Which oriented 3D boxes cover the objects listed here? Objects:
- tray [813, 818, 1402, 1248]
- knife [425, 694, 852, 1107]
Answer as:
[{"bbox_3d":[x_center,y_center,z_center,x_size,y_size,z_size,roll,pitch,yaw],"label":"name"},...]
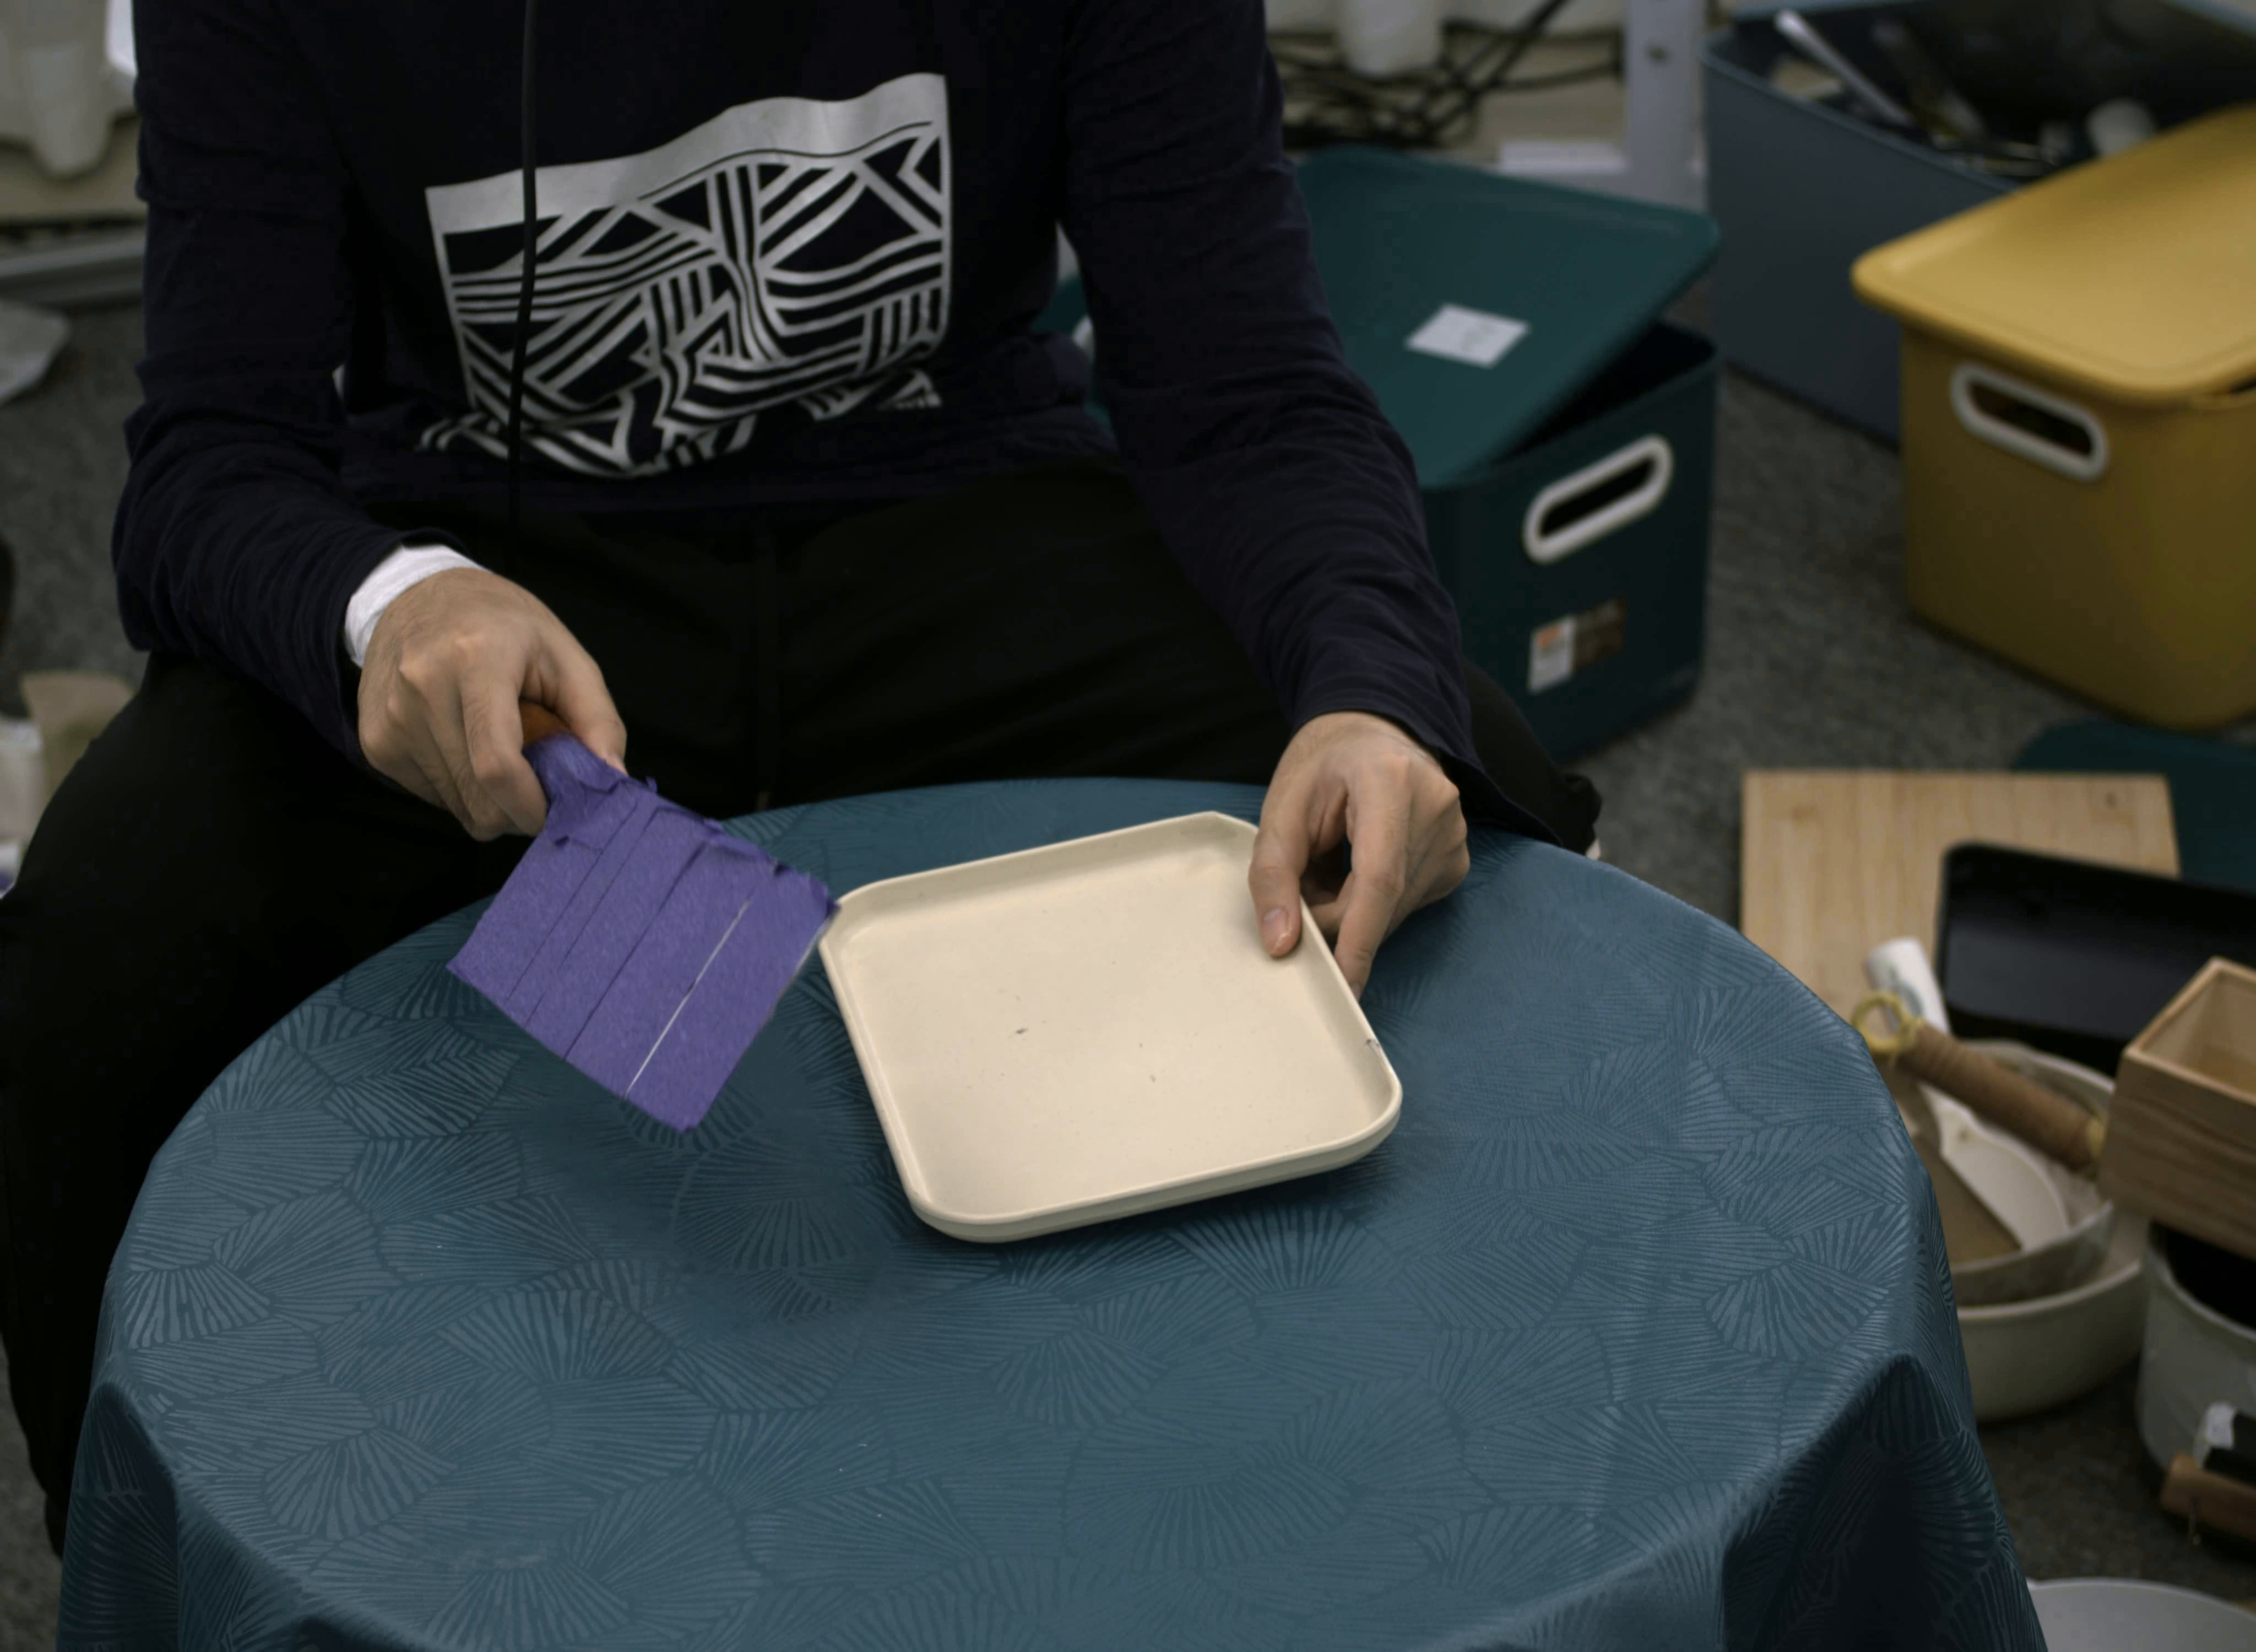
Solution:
[{"bbox_3d":[-0.010,0.070,1.933,0.171,0.017,0.242,-12,28,-8],"label":"tray"},{"bbox_3d":[-0.186,0.022,1.879,0.104,0.032,0.315,-54,28,-7],"label":"knife"}]
